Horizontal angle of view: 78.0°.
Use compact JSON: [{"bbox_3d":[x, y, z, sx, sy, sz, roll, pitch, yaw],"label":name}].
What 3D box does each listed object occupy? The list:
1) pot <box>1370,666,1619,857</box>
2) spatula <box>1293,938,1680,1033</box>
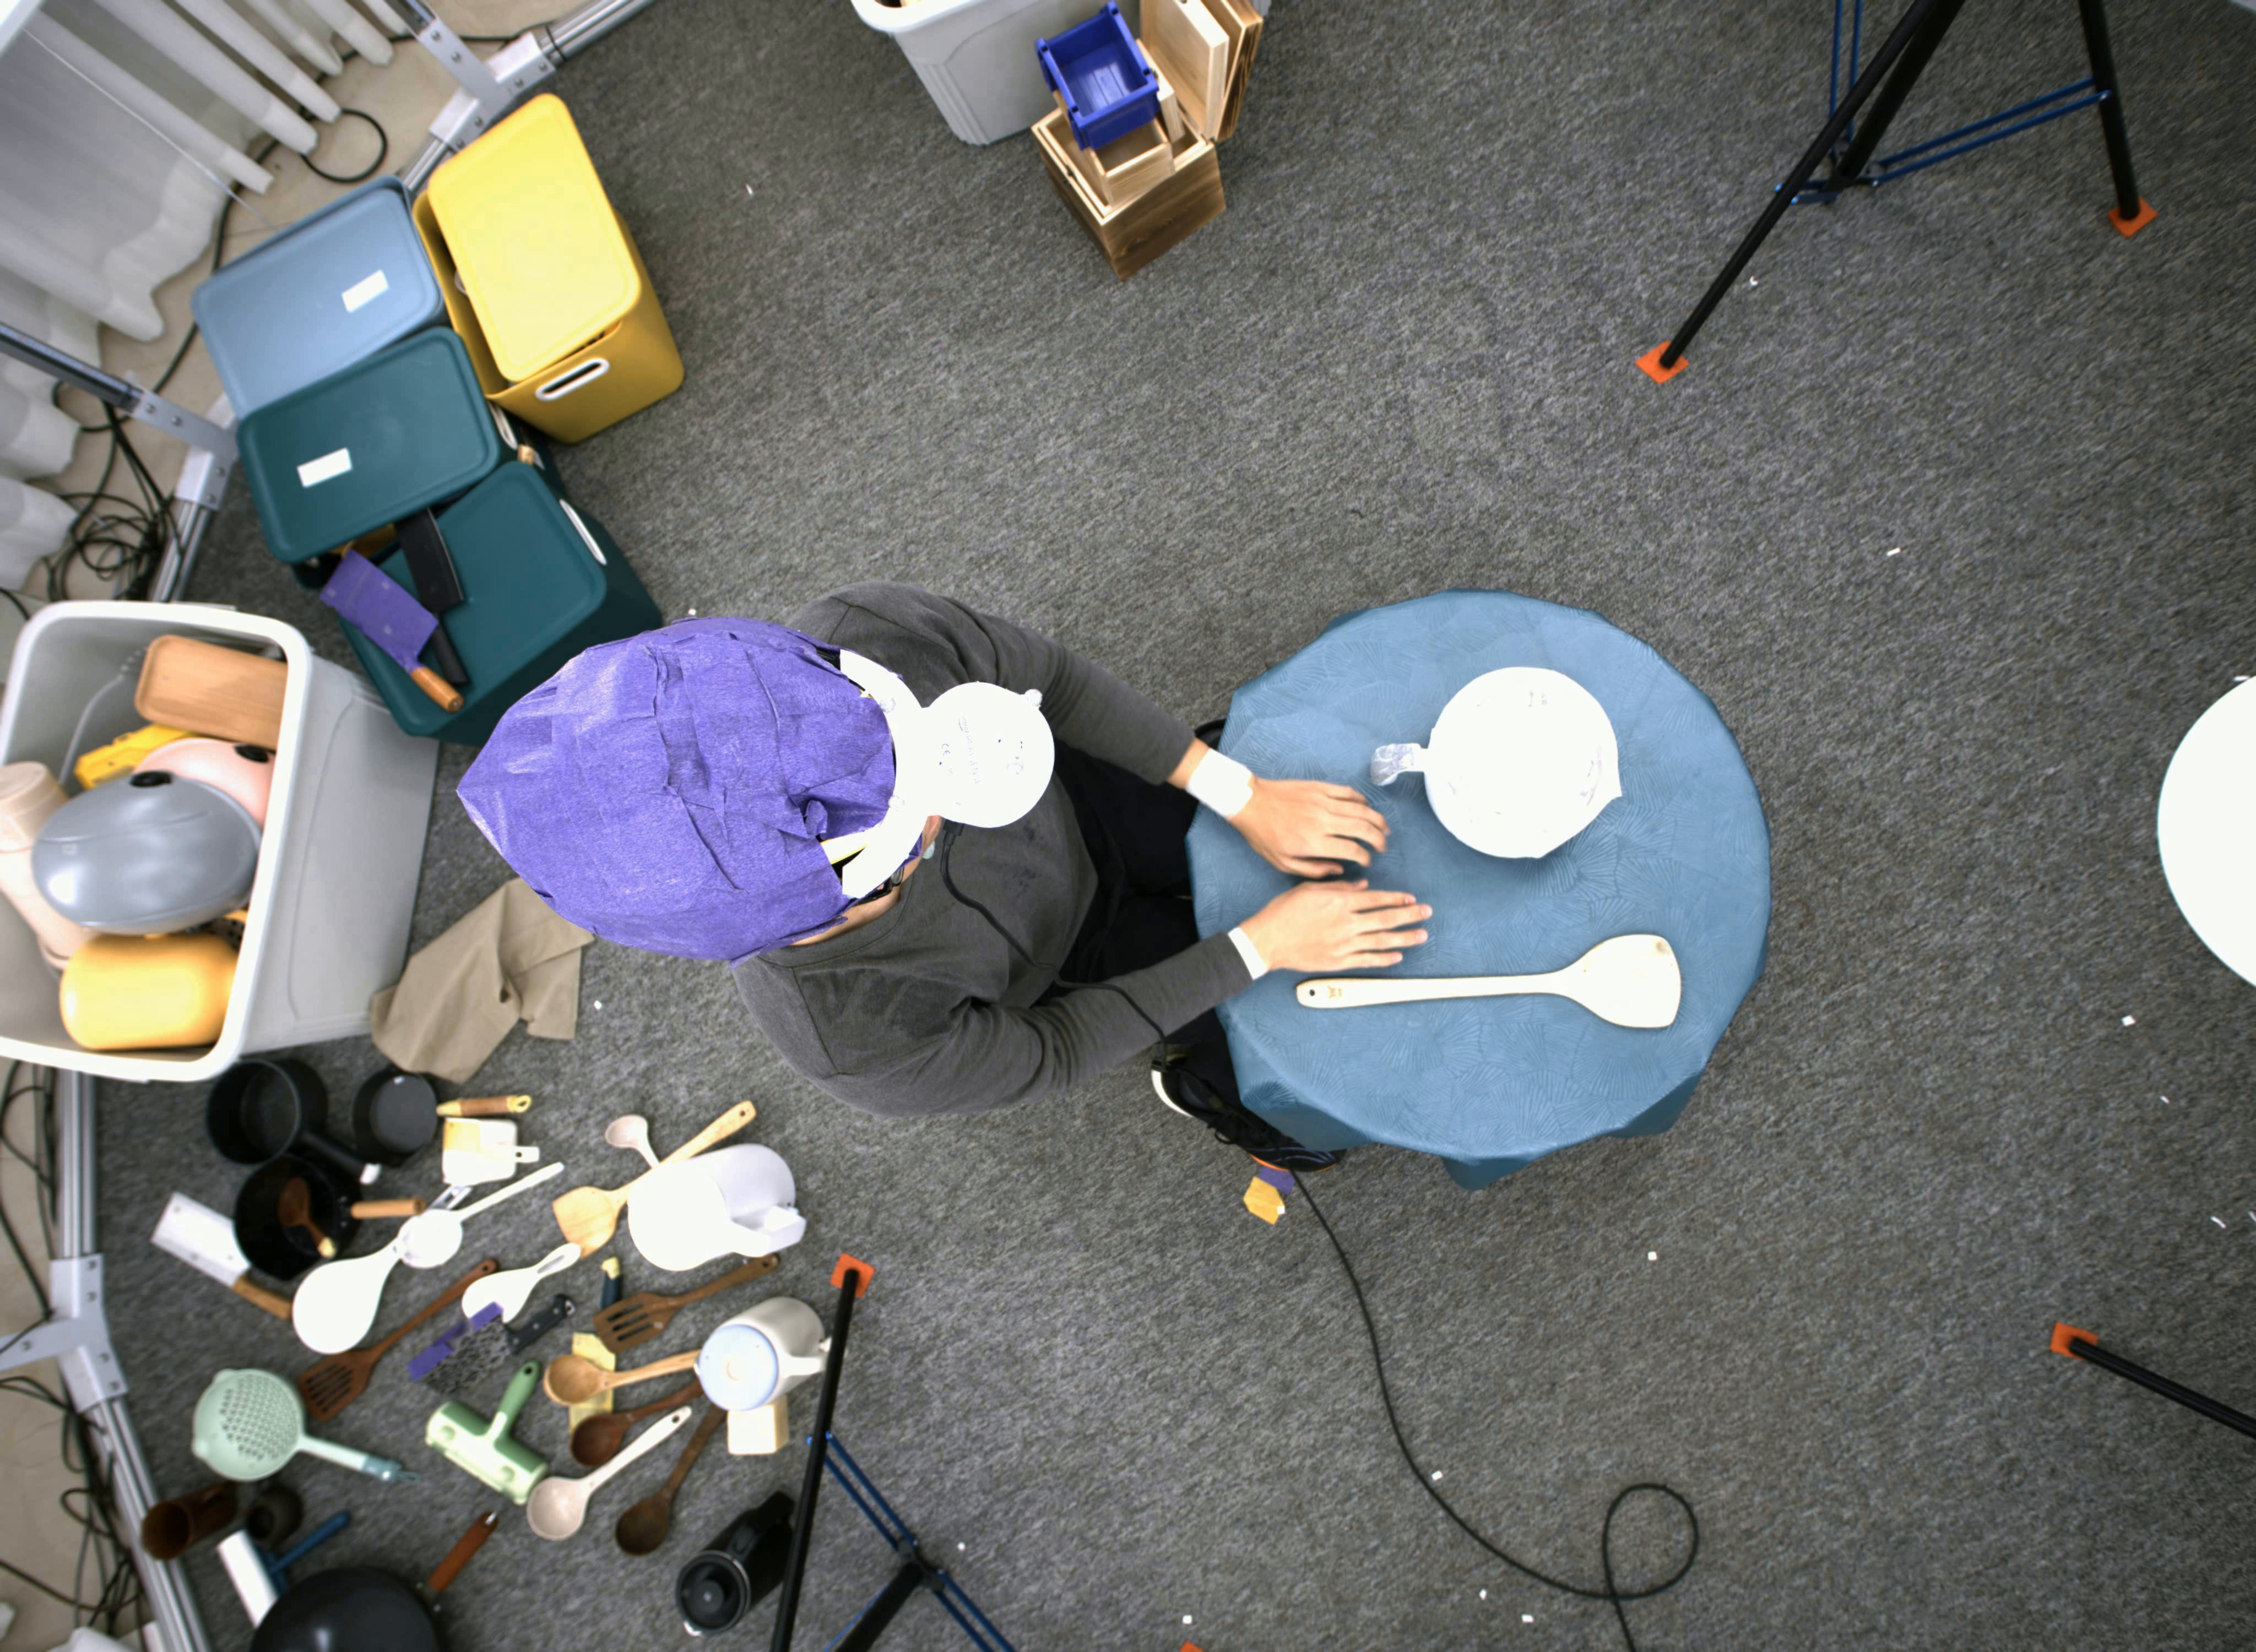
[{"bbox_3d":[0.362,-0.063,1.379,0.234,0.137,0.178,1,85,10],"label":"pot"},{"bbox_3d":[0.367,0.169,1.427,0.392,0.018,0.095,-4,84,10],"label":"spatula"}]
